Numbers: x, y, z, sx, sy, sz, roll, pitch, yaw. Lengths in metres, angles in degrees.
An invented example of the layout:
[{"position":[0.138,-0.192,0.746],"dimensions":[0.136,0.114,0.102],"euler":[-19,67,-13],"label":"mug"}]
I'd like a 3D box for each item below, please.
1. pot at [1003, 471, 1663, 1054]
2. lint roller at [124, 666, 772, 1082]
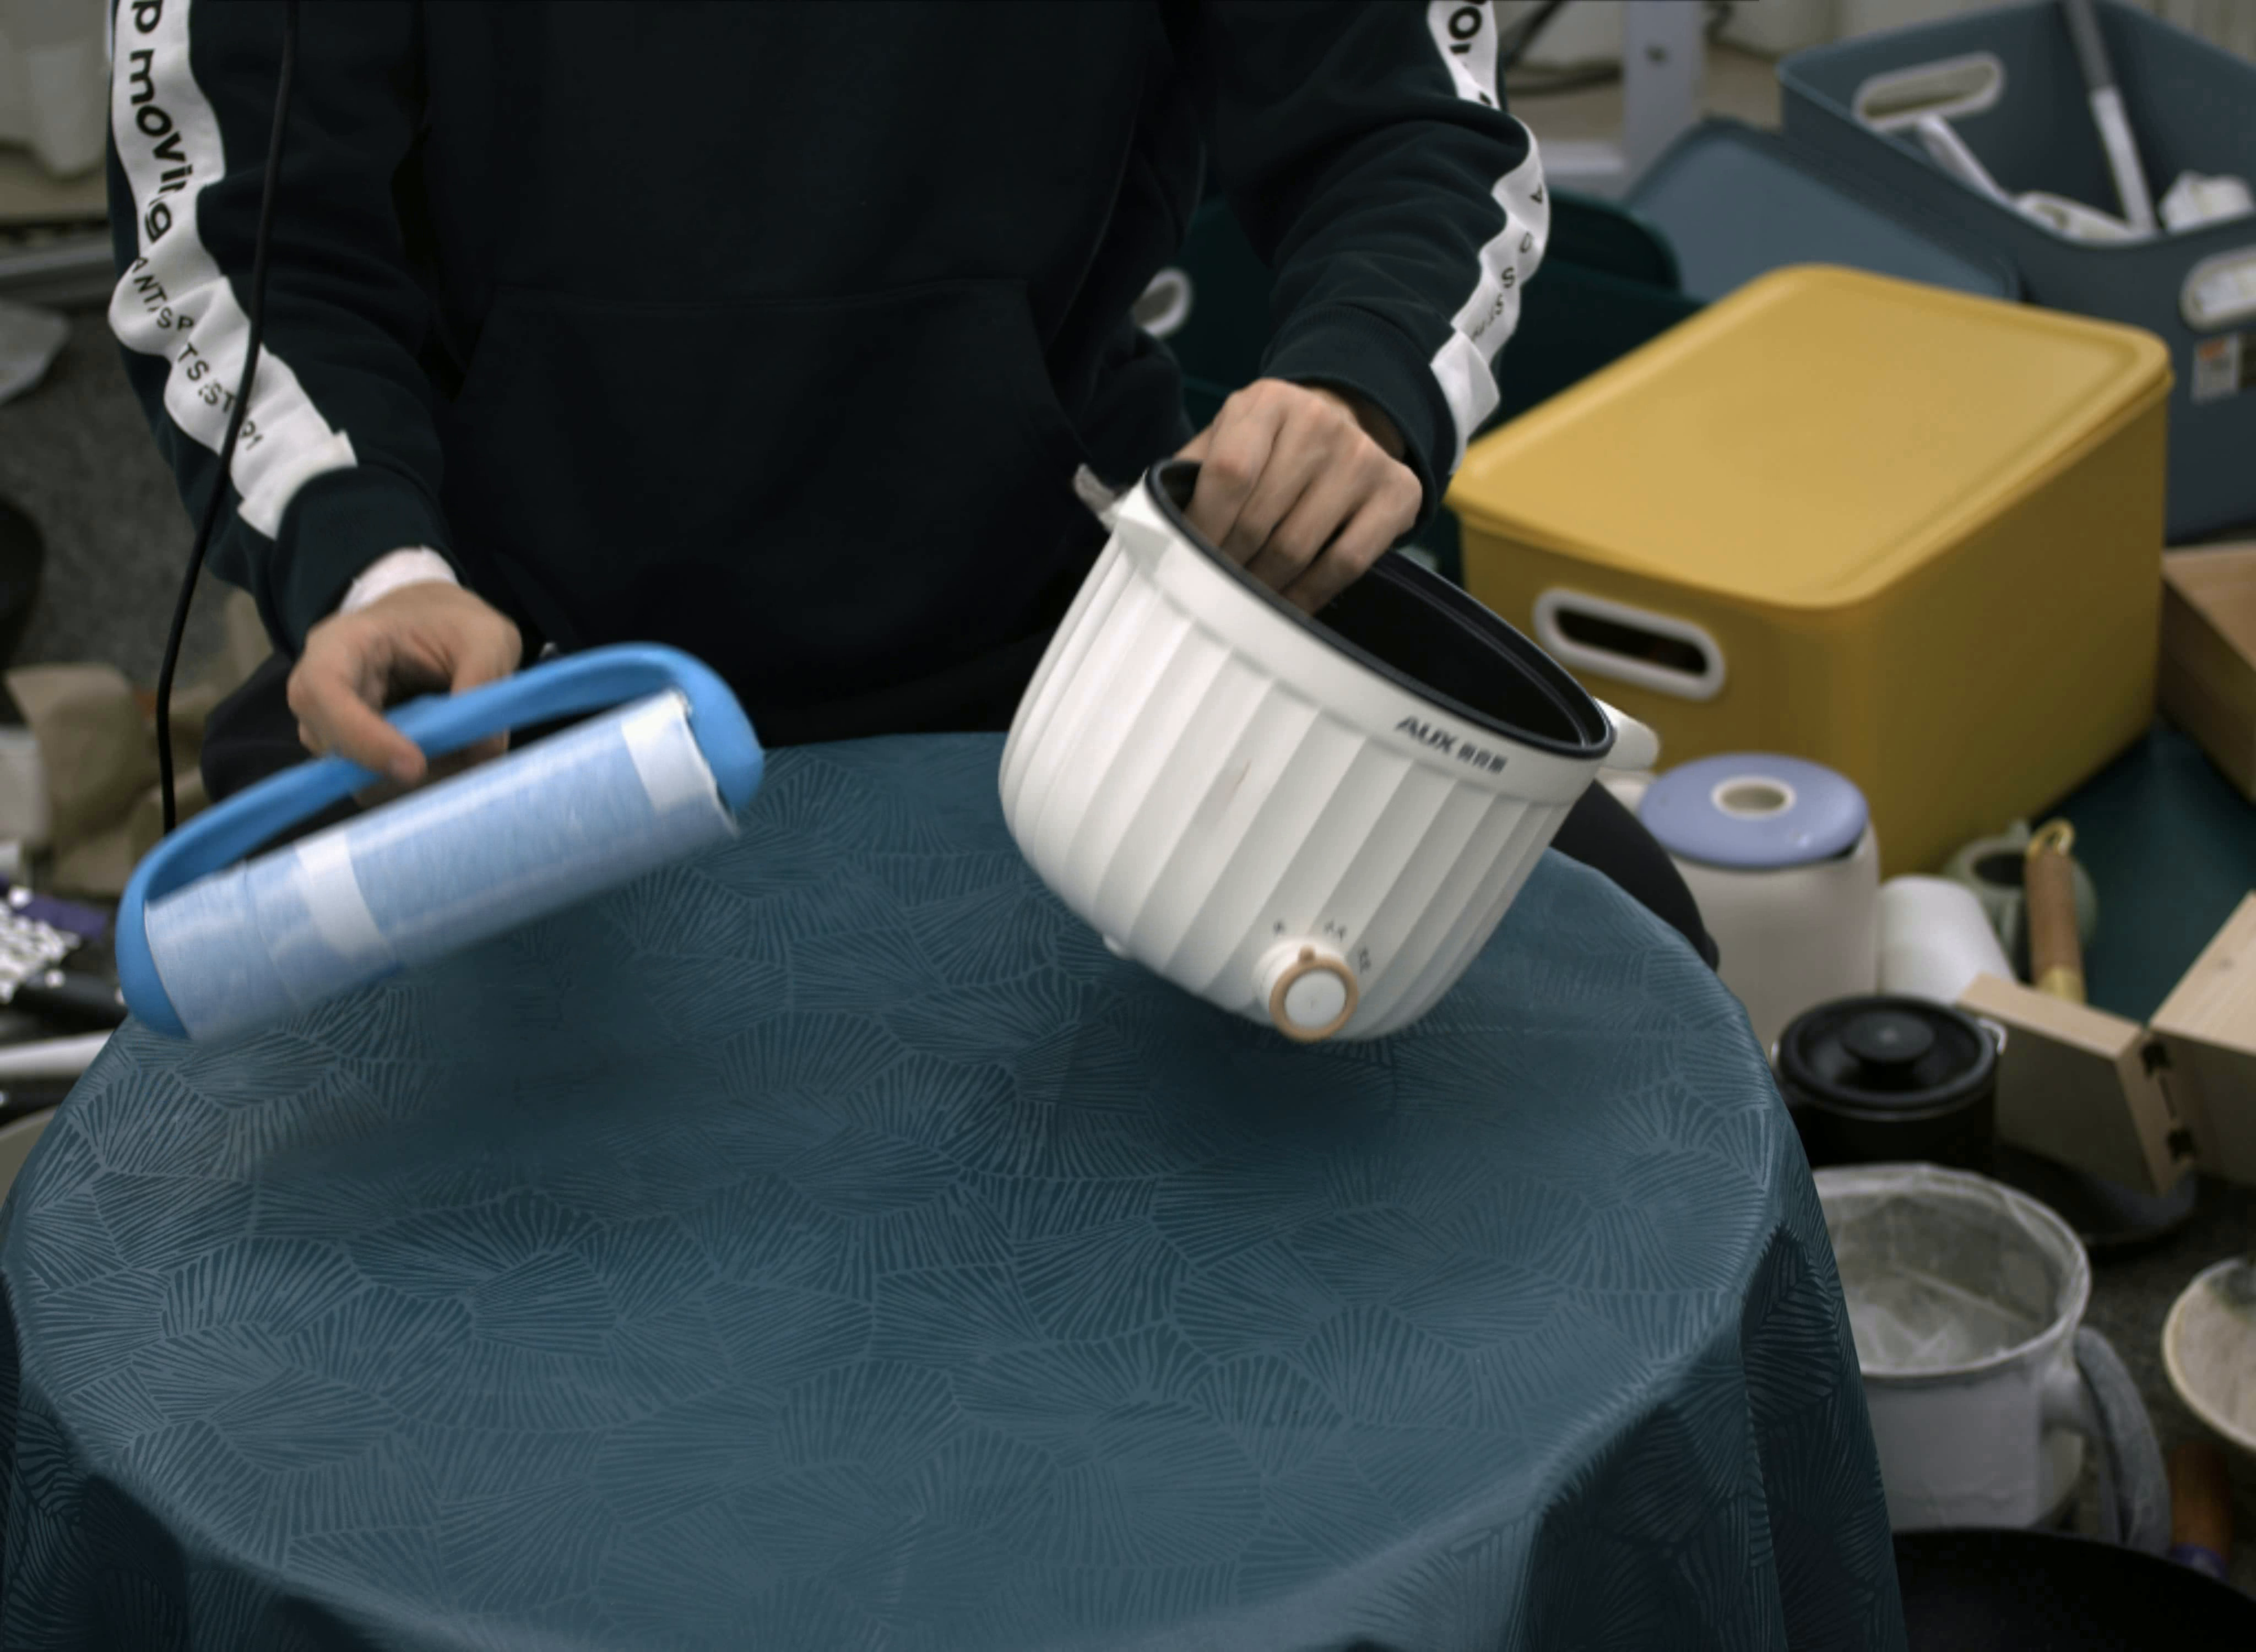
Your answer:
[{"position":[0.056,-0.013,1.887],"dimensions":[0.240,0.142,0.192],"euler":[21,14,-25],"label":"pot"},{"position":[-0.237,-0.001,1.918],"dimensions":[0.228,0.067,0.182],"euler":[-26,25,-2],"label":"lint roller"}]
